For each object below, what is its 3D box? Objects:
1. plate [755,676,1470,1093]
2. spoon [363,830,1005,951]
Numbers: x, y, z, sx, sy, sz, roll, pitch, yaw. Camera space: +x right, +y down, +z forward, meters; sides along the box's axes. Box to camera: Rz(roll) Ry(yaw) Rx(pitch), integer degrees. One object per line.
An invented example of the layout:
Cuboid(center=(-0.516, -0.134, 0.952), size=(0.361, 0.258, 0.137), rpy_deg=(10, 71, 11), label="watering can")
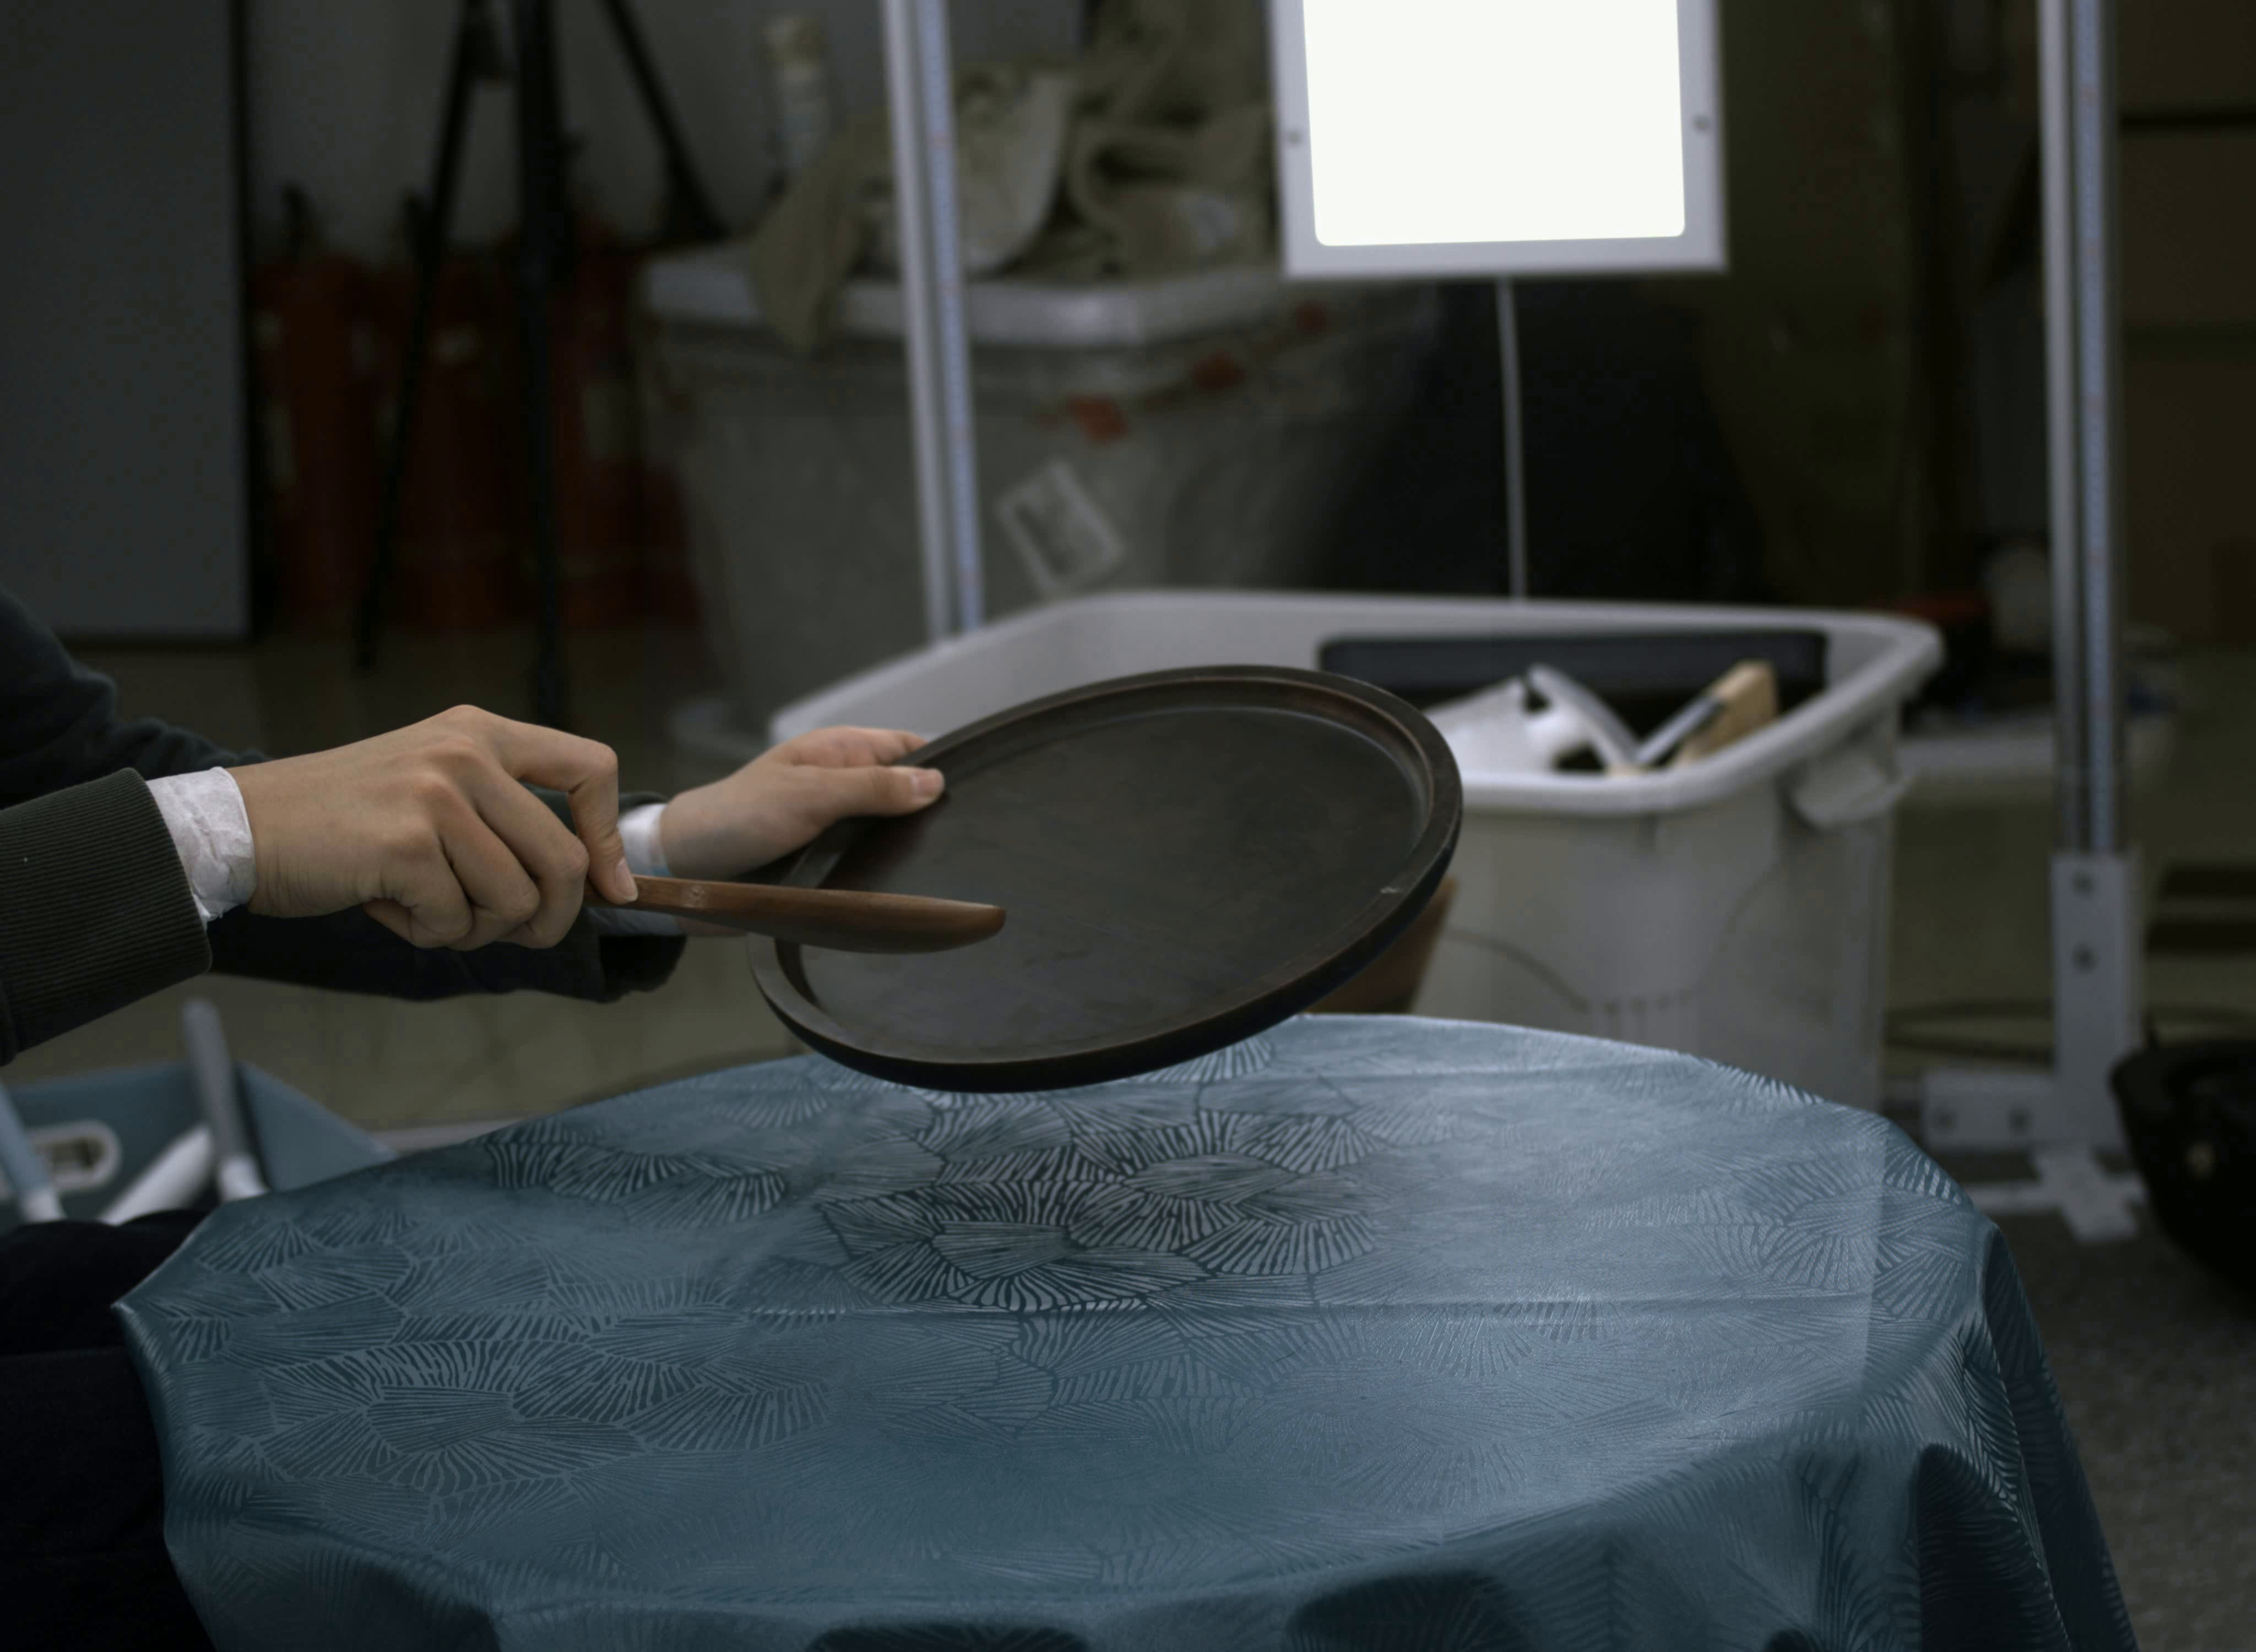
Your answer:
Cuboid(center=(-0.005, 0.018, 1.888), size=(0.255, 0.029, 0.254), rpy_deg=(-13, 28, 6), label="plate")
Cuboid(center=(-0.136, 0.022, 1.709), size=(0.211, 0.017, 0.077), rpy_deg=(8, -6, -29), label="spoon")
